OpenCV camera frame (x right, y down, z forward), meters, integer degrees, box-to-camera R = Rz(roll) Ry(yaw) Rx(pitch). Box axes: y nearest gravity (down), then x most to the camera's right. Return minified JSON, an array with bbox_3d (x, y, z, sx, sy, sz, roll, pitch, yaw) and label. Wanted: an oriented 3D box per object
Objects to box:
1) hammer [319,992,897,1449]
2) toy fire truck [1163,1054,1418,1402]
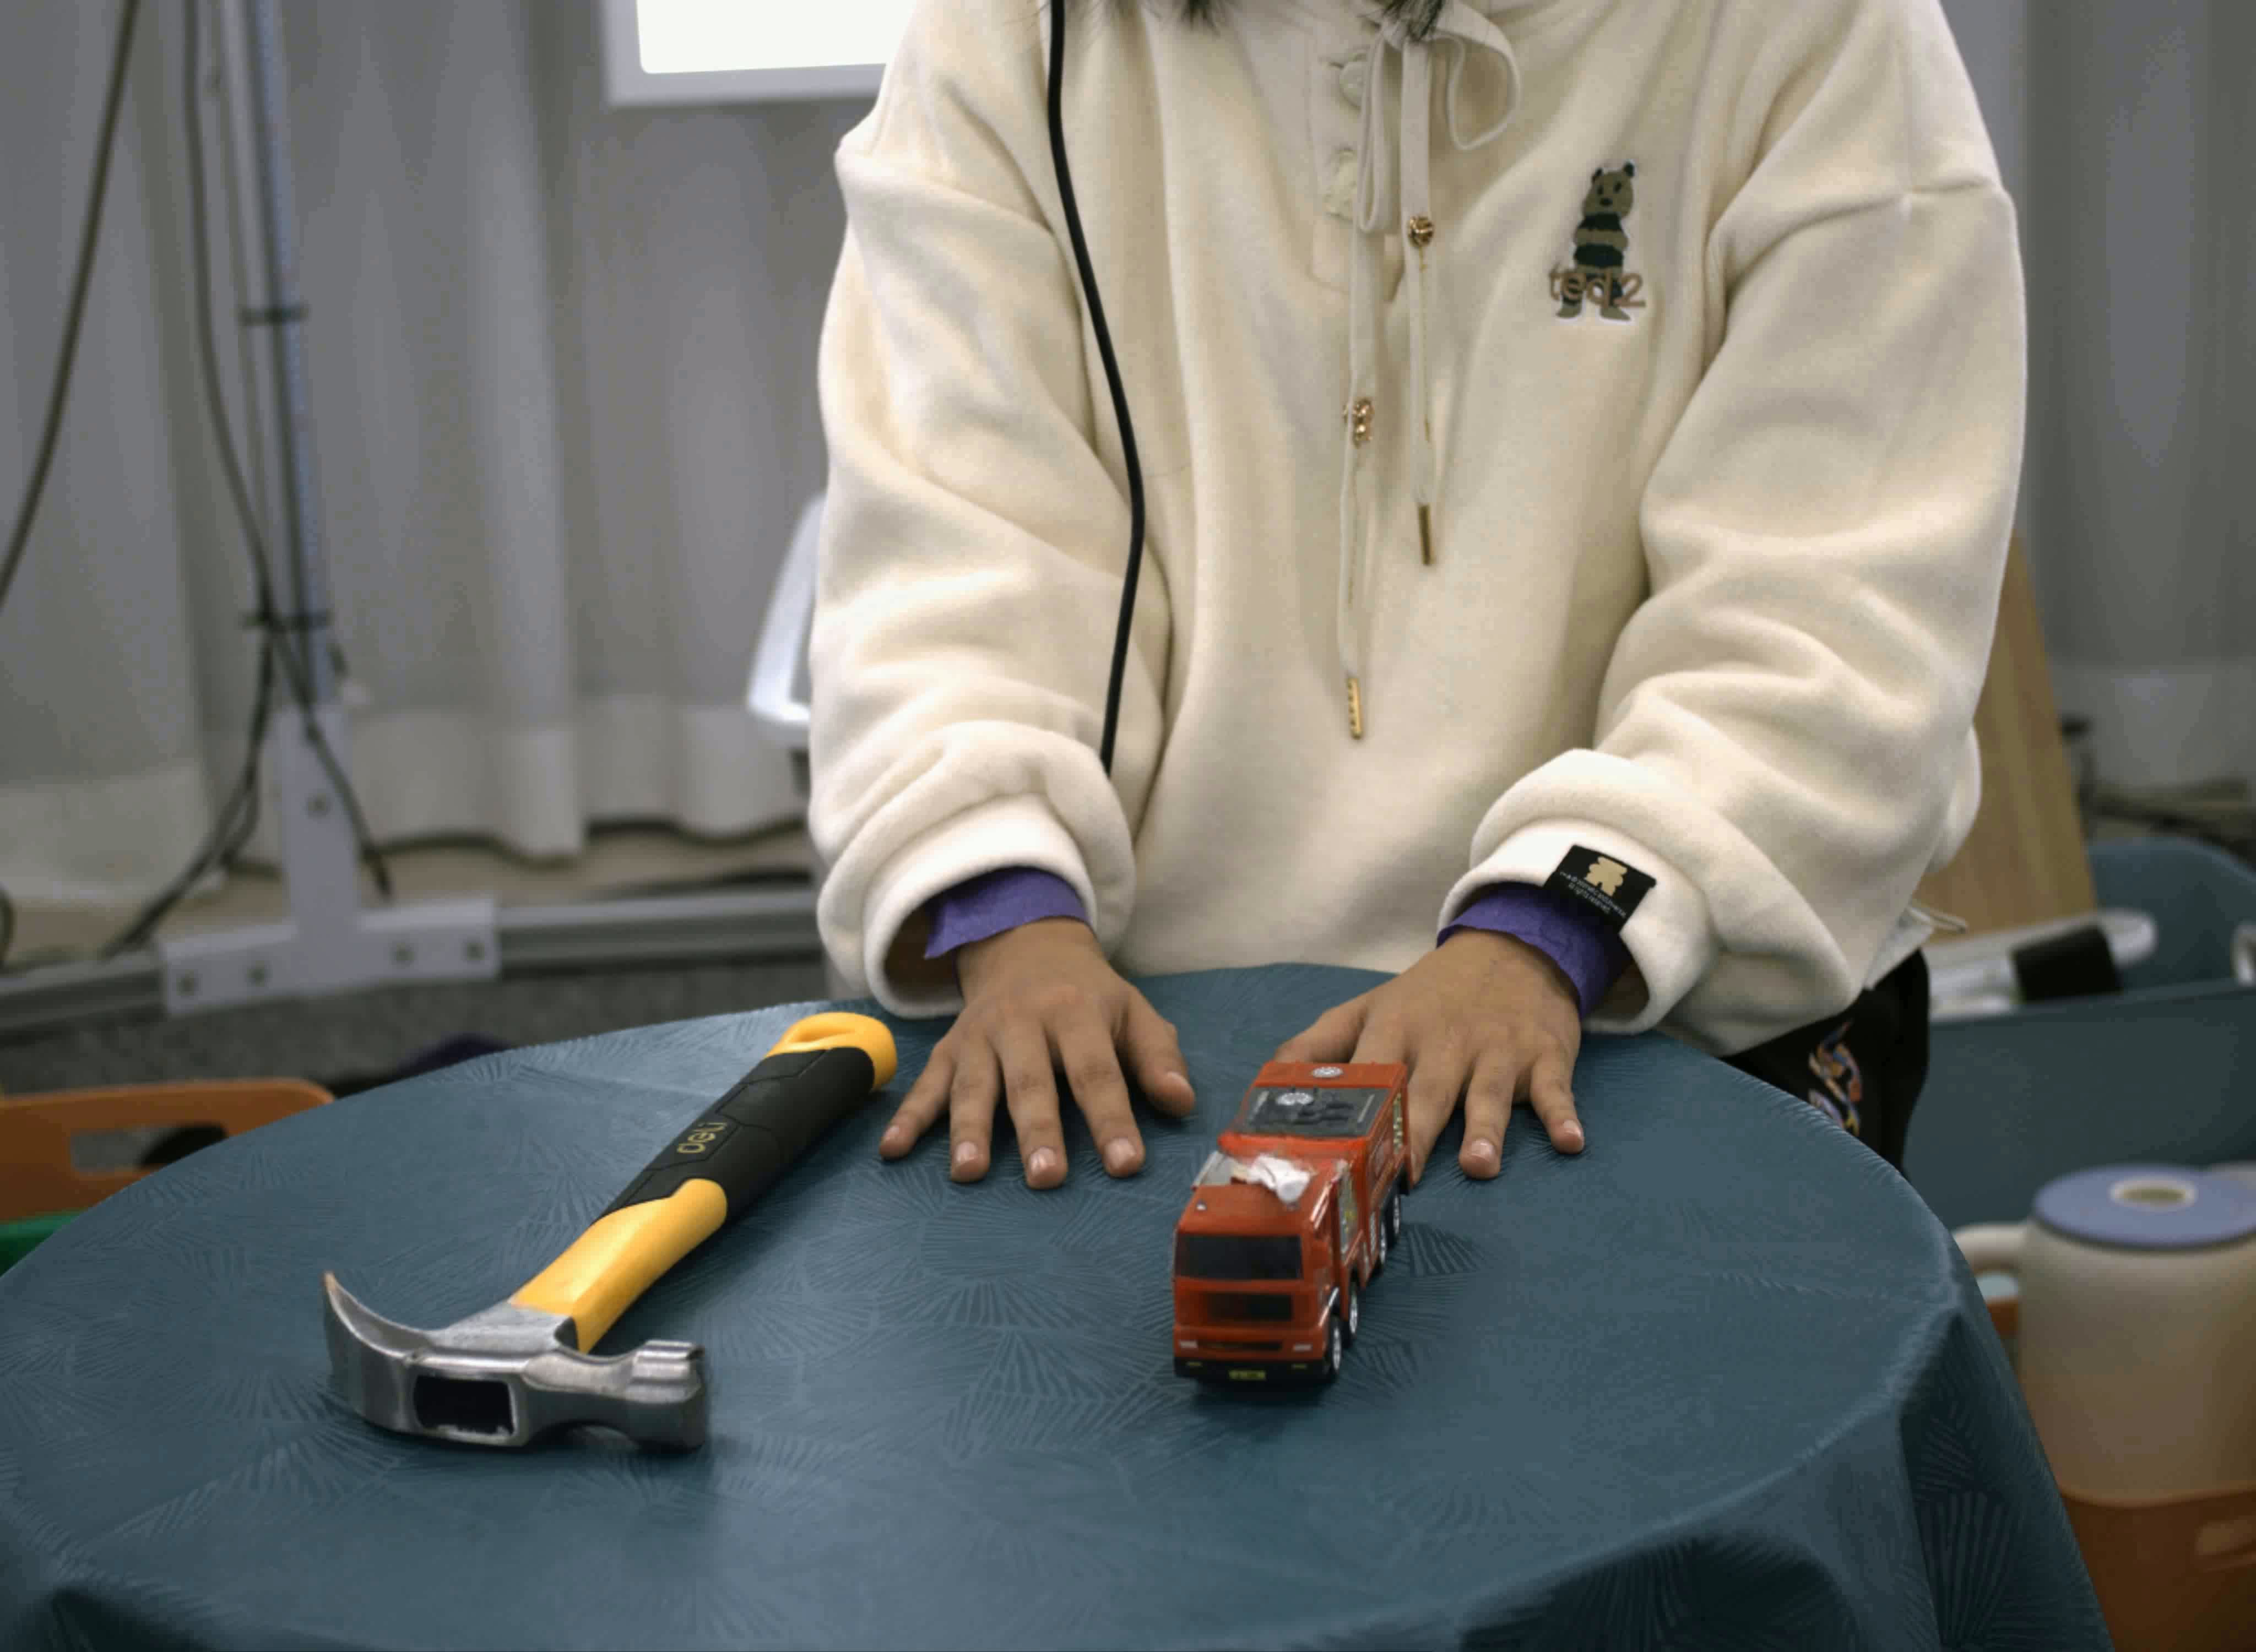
[{"bbox_3d":[-0.140,0.113,1.674,0.131,0.032,0.340,0,16,17],"label":"hammer"},{"bbox_3d":[0.049,0.114,1.593,0.054,0.070,0.168,0,14,12],"label":"toy fire truck"}]
